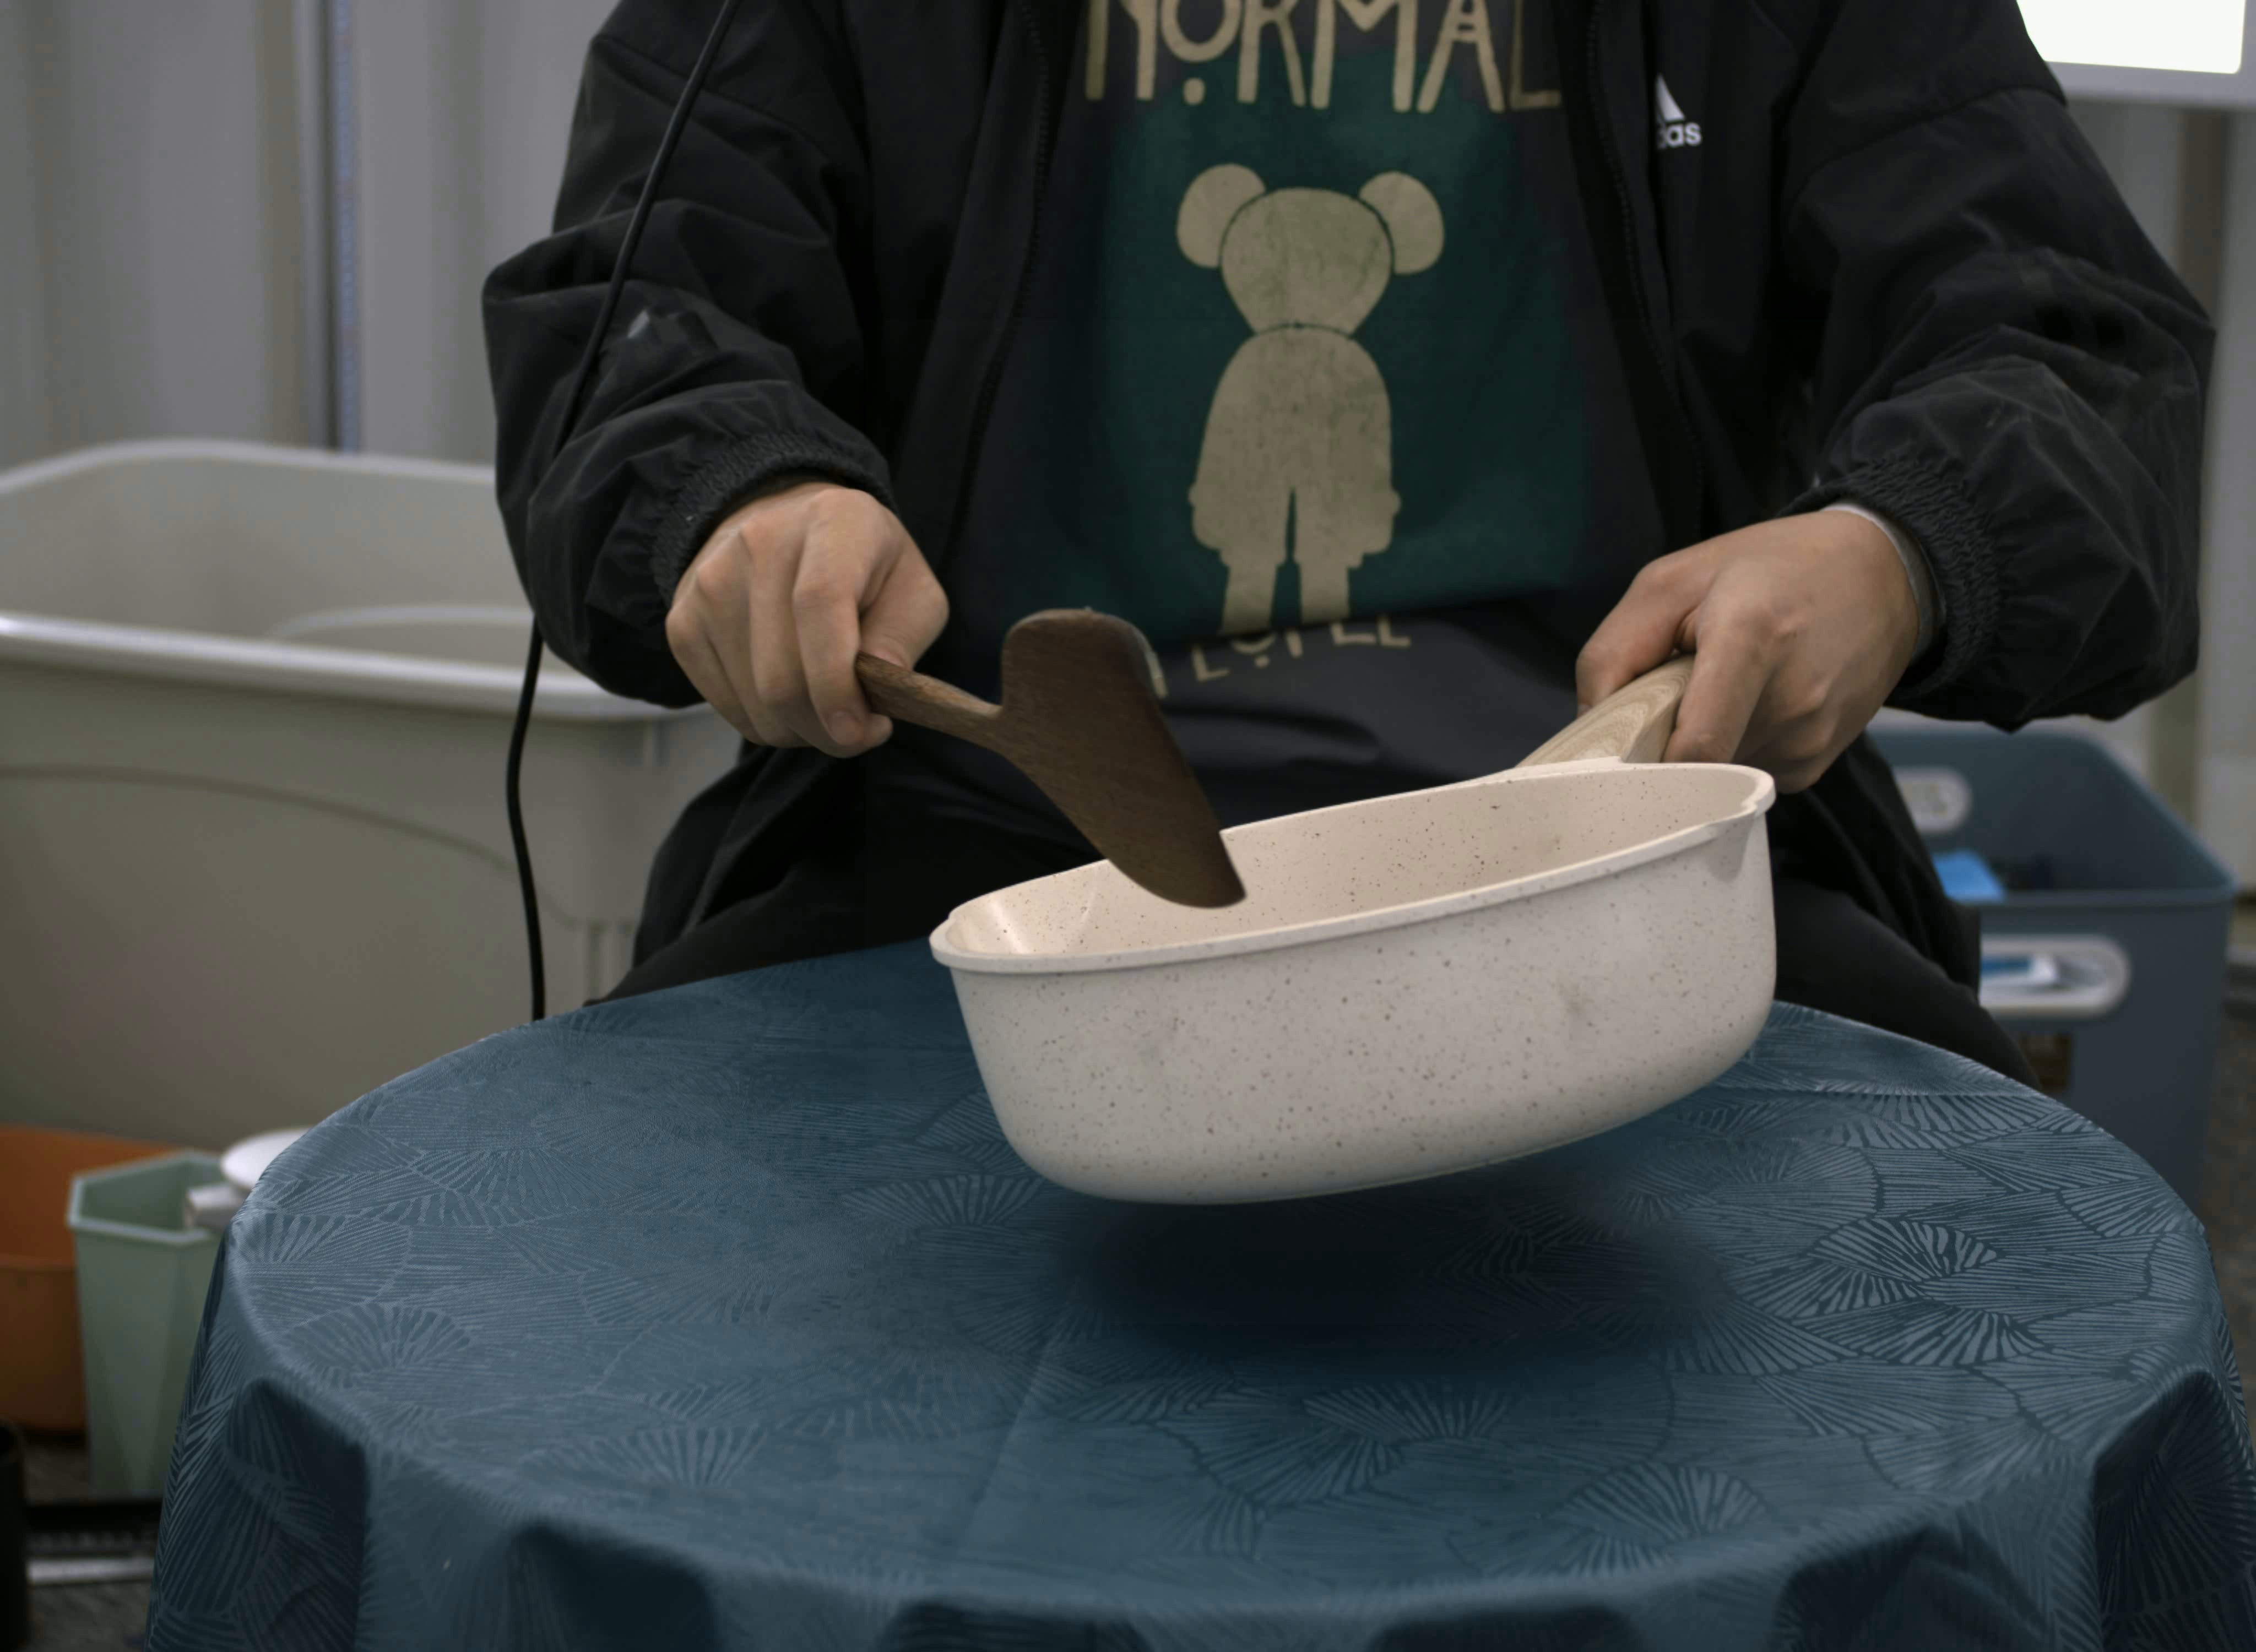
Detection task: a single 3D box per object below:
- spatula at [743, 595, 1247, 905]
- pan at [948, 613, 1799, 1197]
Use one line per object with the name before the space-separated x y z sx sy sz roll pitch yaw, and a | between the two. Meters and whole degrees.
spatula | -0.054 -0.038 1.593 0.016 0.097 0.382 -30 16 -15
pan | 0.122 0.019 1.617 0.261 0.102 0.436 -9 7 32
